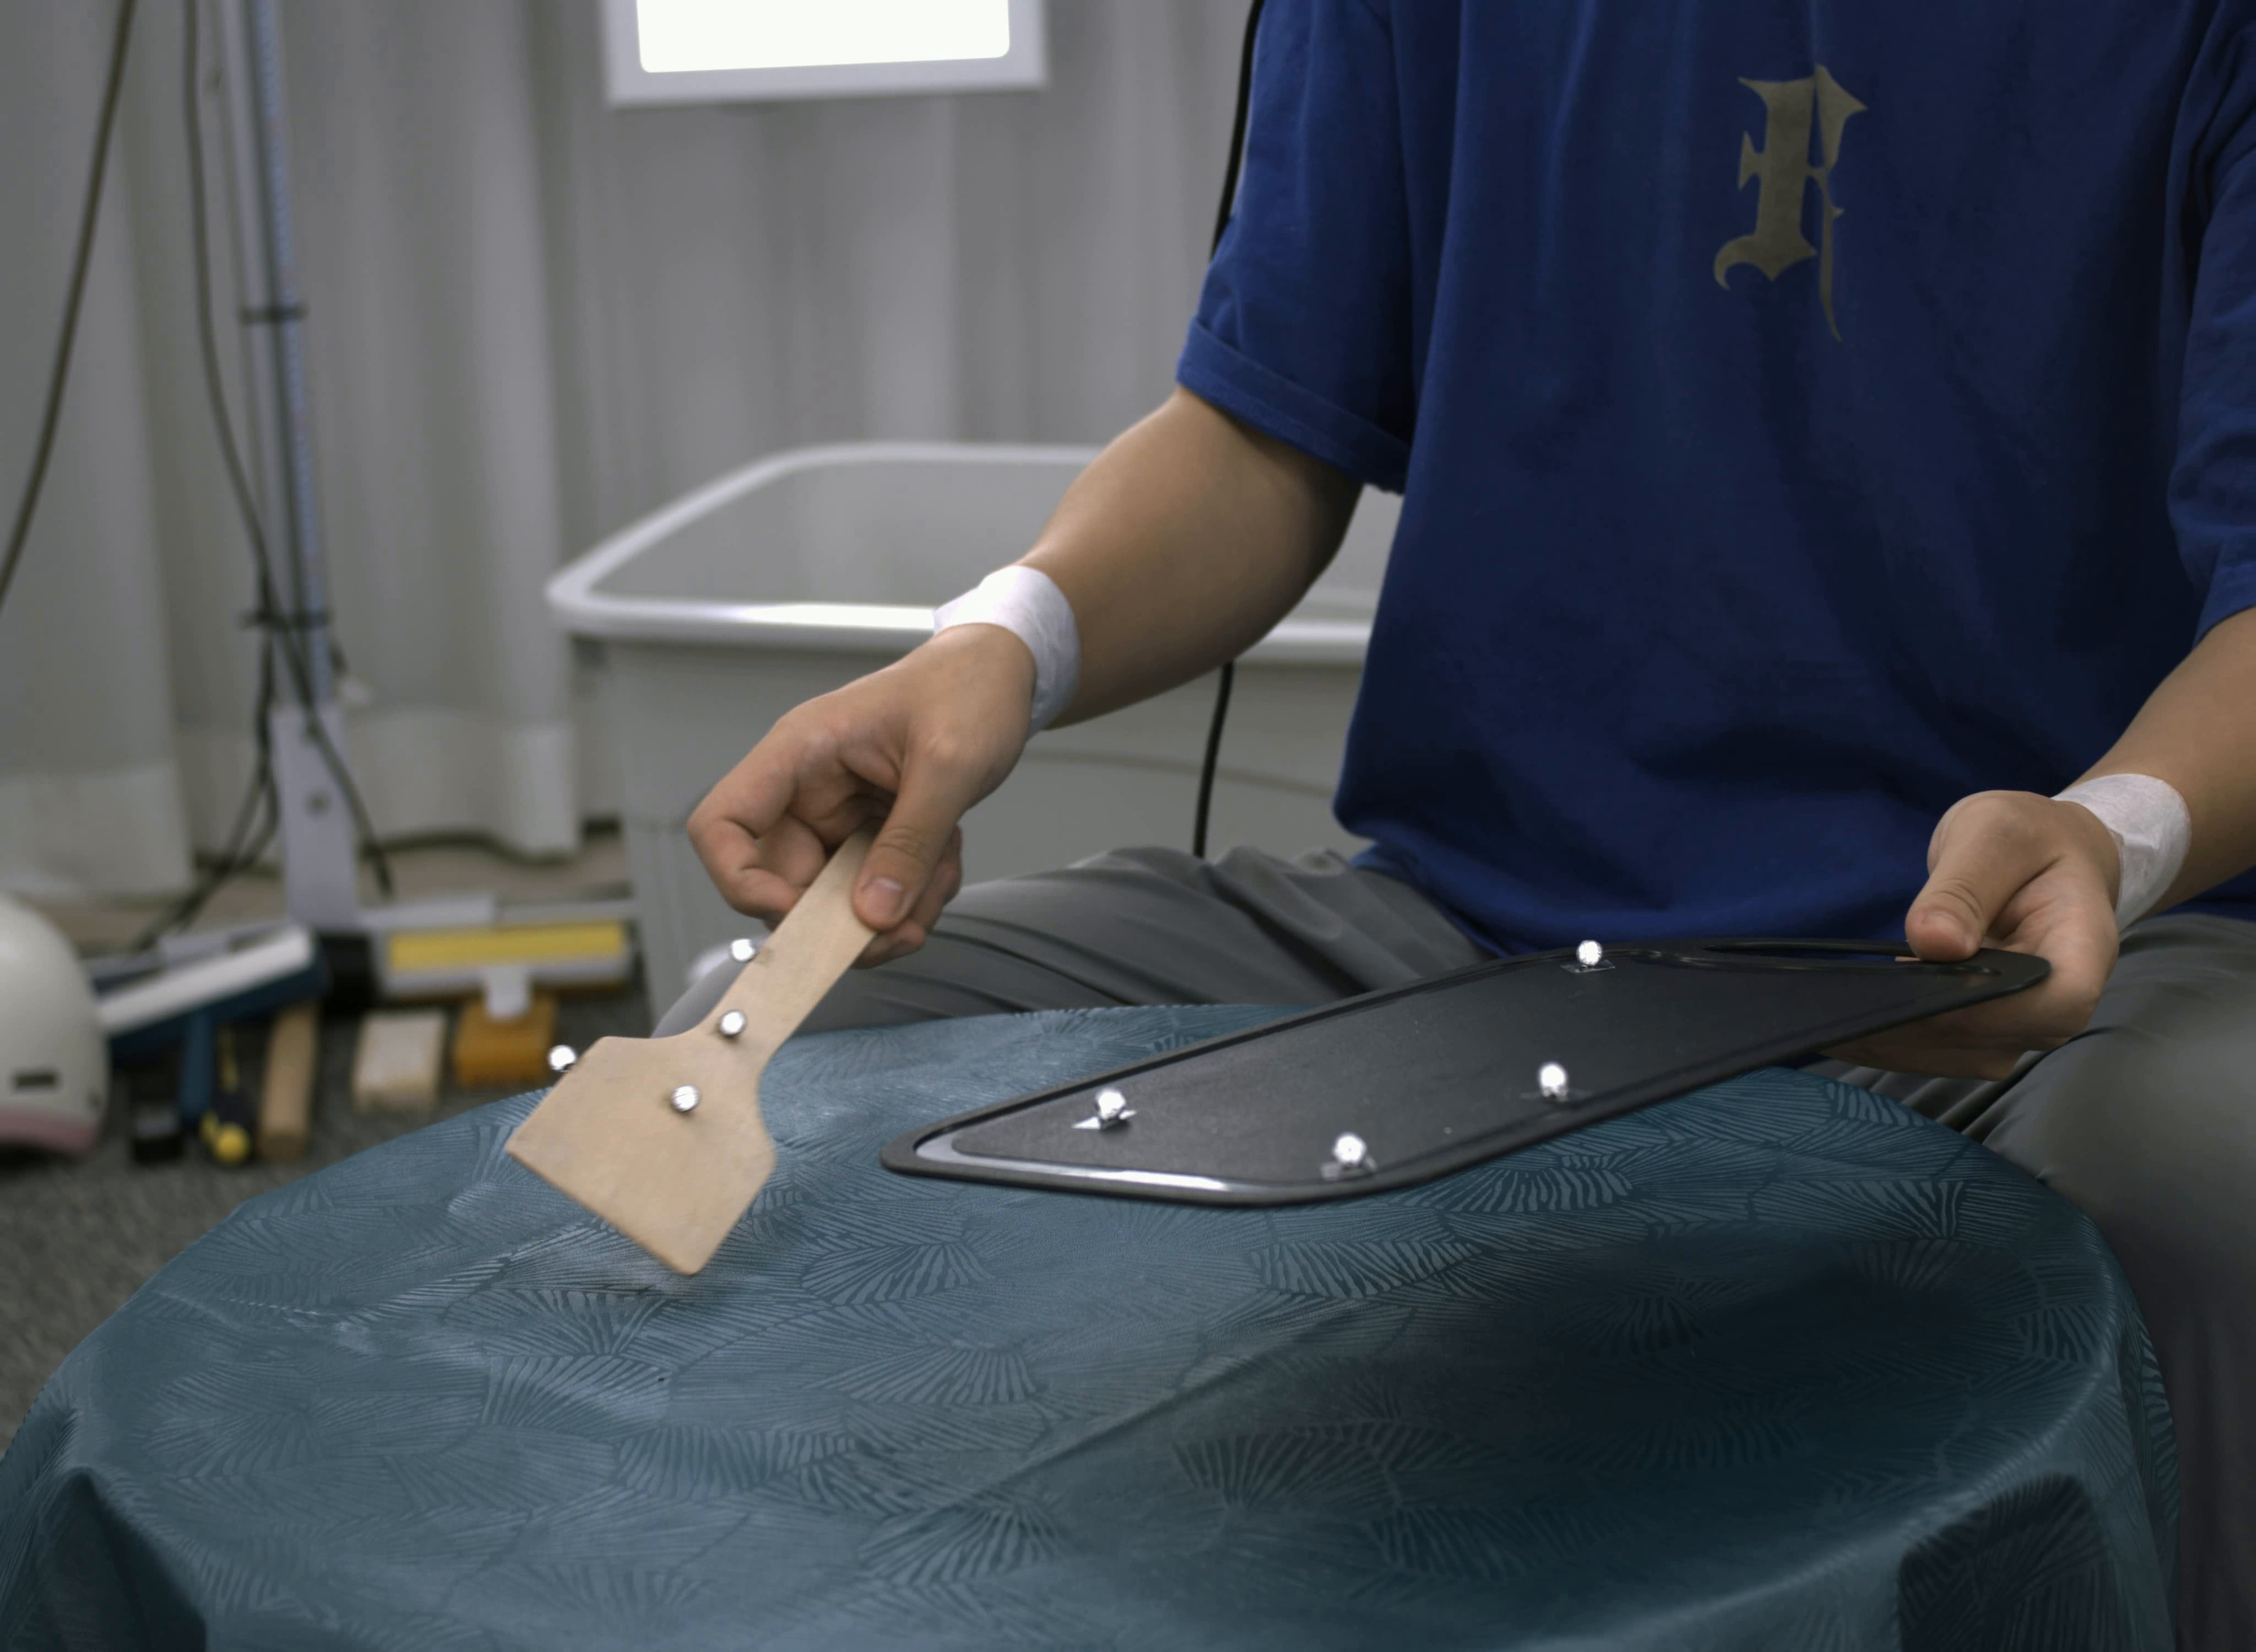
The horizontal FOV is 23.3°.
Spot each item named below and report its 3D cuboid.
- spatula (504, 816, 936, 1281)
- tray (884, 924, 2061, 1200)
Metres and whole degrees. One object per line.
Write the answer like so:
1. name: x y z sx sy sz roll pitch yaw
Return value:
1. spatula: -0.119 0.060 1.754 0.072 0.010 0.295 34 29 1
2. tray: 0.103 0.060 1.518 0.324 0.010 0.212 -14 9 -38
